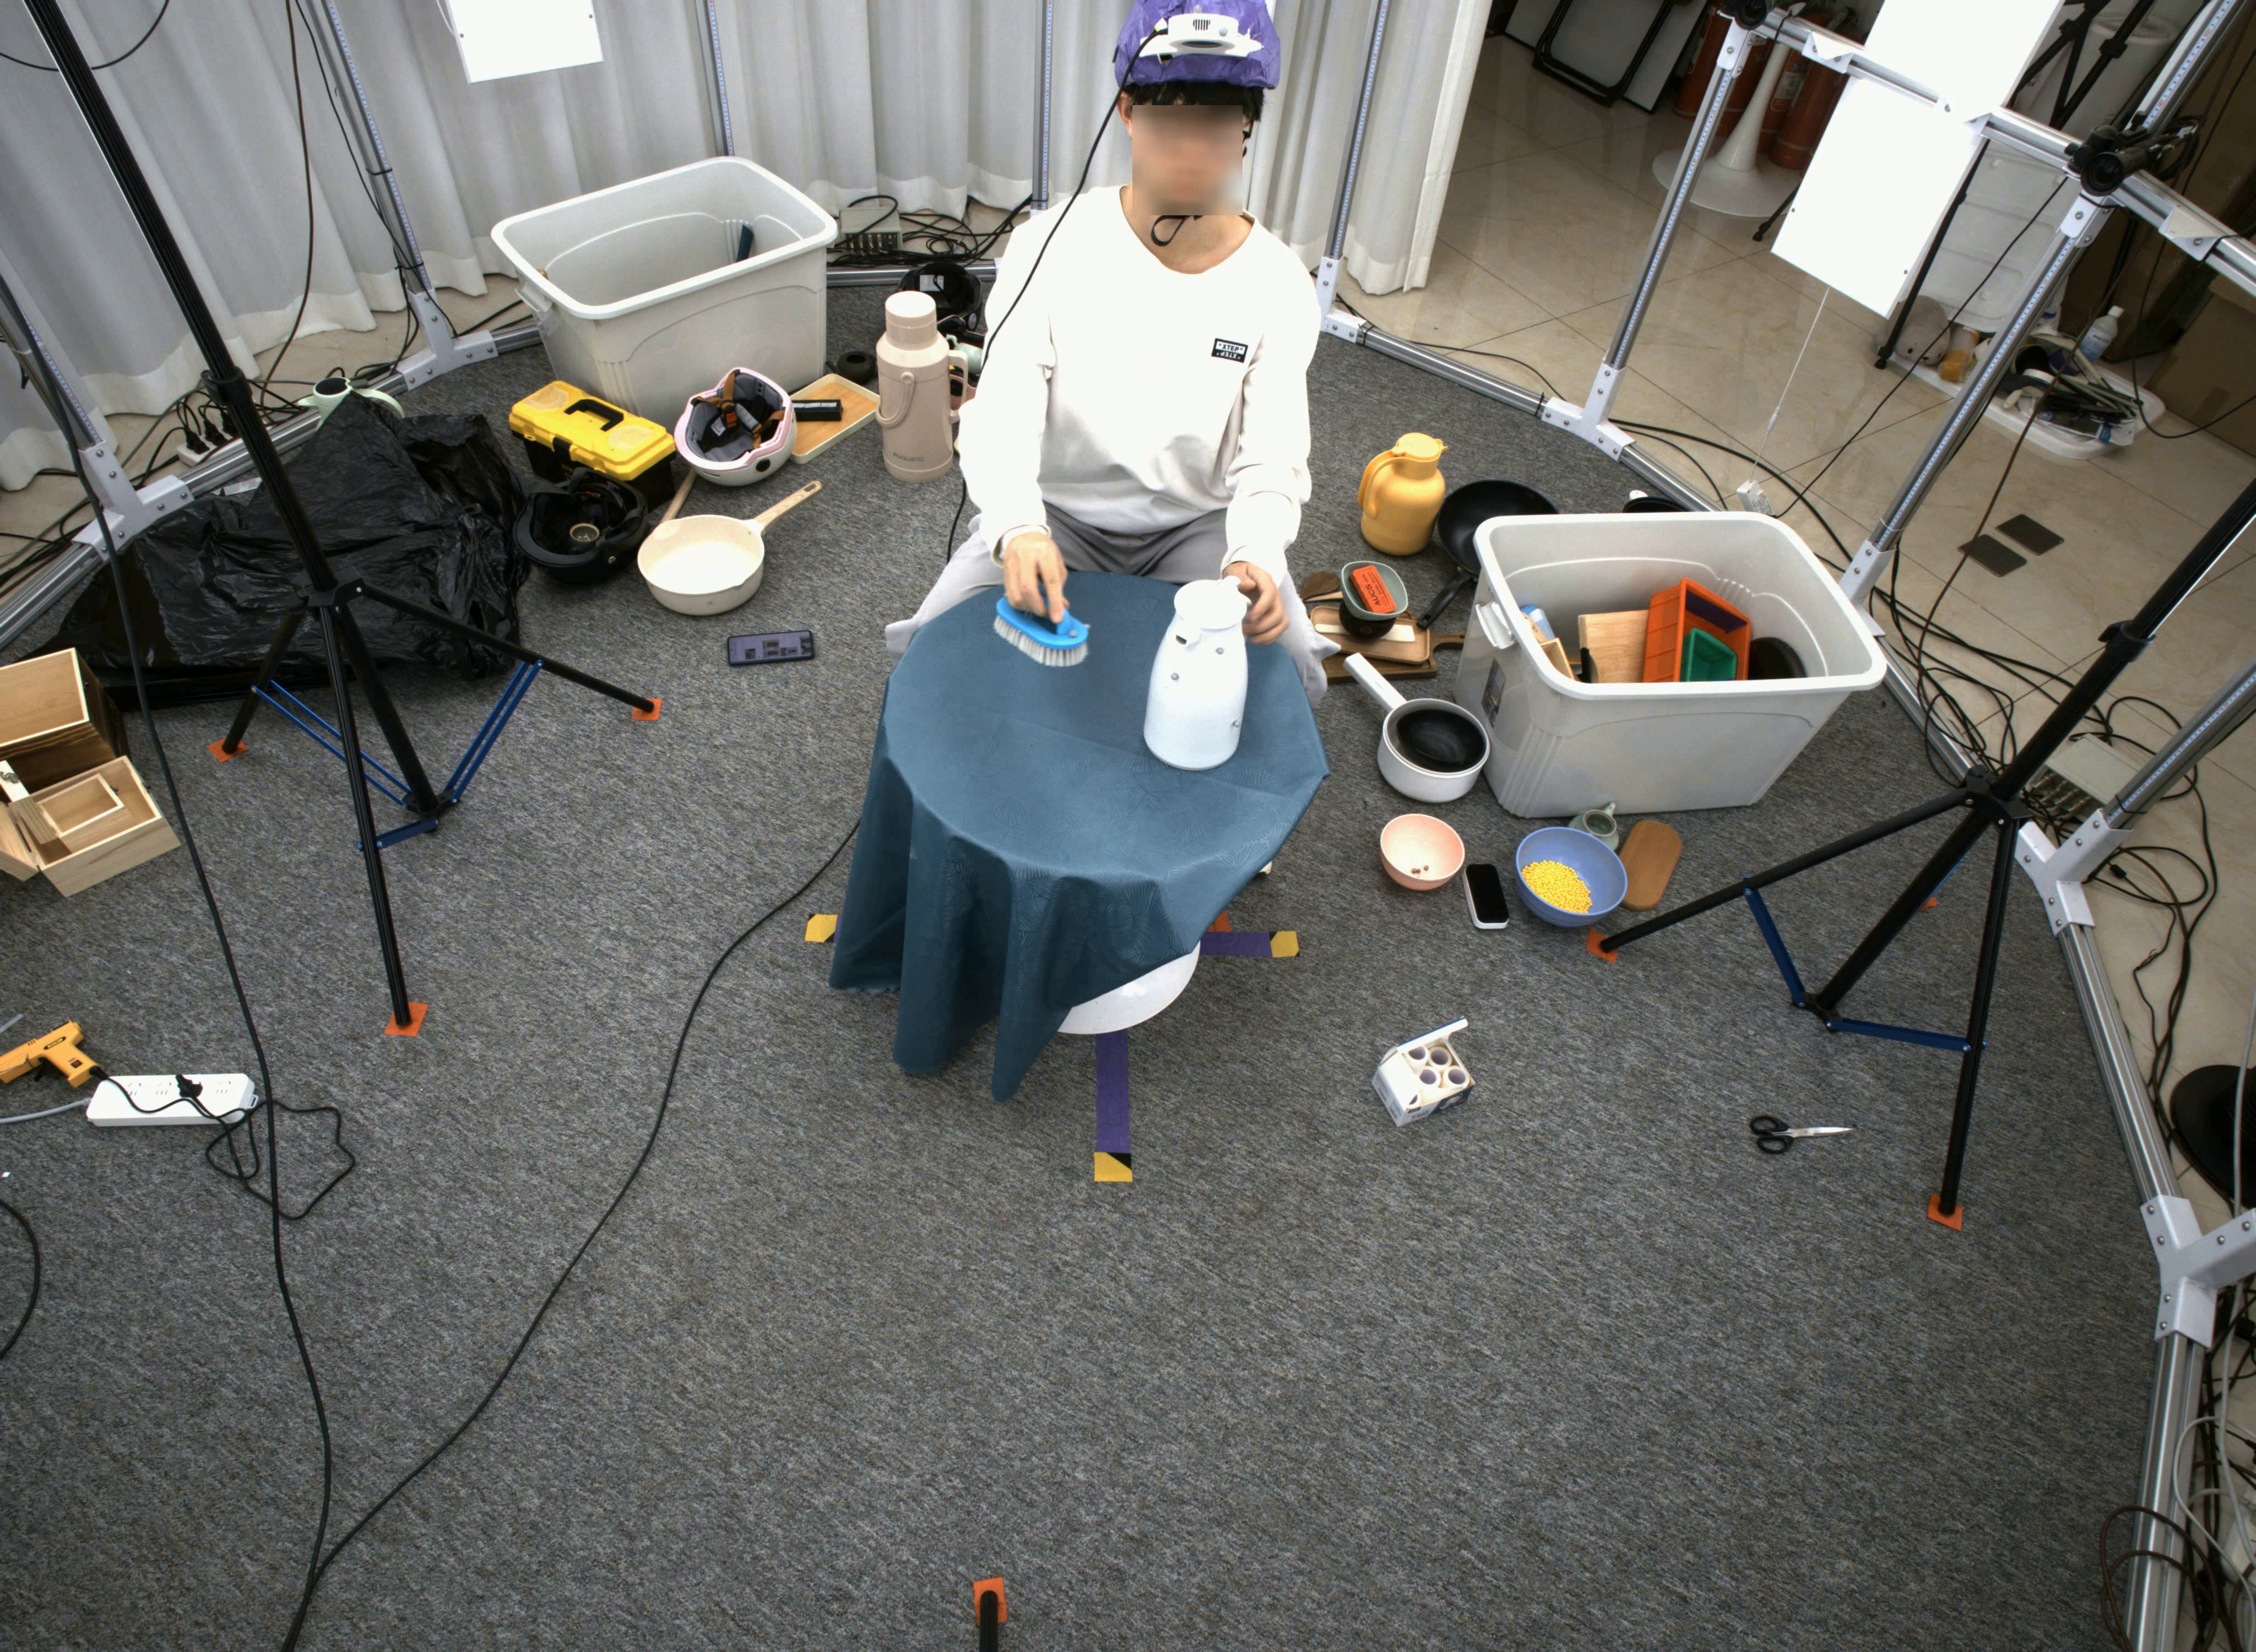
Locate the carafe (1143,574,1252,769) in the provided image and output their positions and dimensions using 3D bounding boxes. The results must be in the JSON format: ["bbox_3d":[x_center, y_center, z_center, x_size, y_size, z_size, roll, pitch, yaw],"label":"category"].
[{"bbox_3d":[0.105,-0.218,1.700,0.134,0.242,0.170,30,53,20],"label":"carafe"}]

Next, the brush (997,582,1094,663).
[{"bbox_3d":[-0.105,-0.263,1.604,0.085,0.062,0.144,-27,48,-32],"label":"brush"}]
